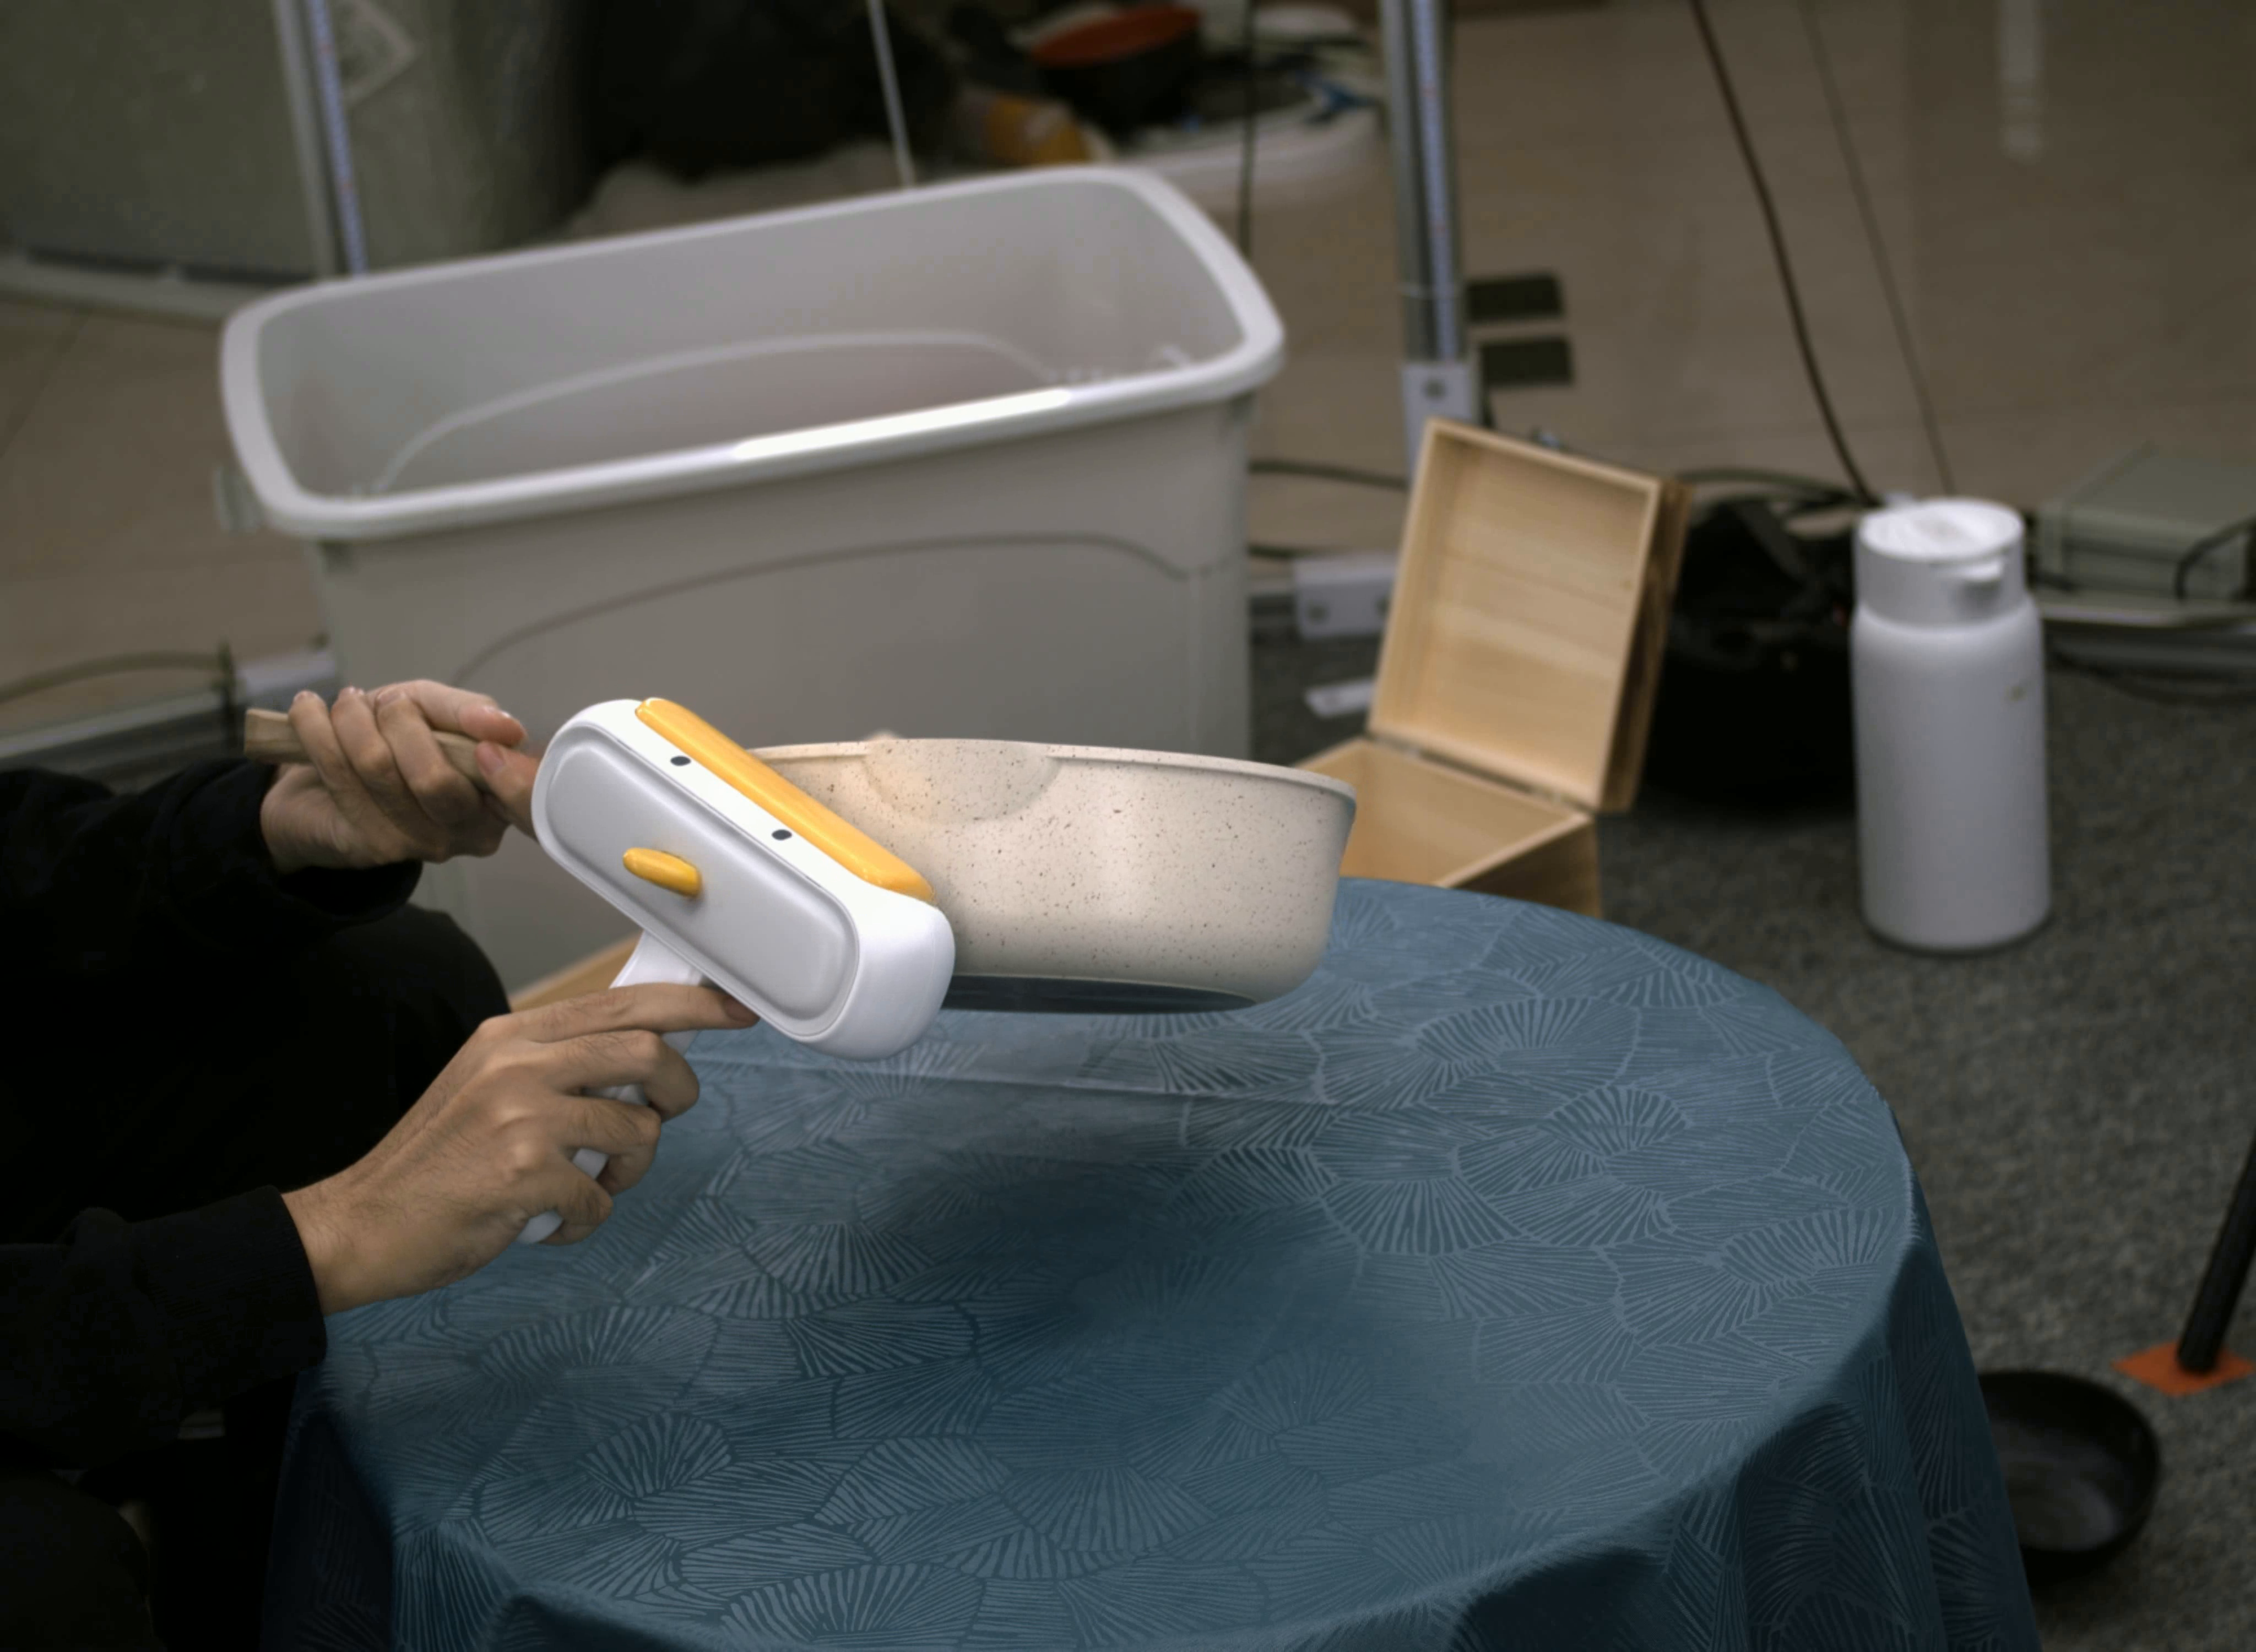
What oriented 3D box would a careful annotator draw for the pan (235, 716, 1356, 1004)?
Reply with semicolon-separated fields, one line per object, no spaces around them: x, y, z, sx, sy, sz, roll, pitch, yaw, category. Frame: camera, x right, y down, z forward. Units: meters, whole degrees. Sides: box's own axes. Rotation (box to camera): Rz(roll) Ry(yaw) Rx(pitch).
-0.131;0.013;2.150;0.434;0.102;0.264;1;-3;10;pan

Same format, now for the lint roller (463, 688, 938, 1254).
-0.175;0.066;2.034;0.191;0.193;0.074;30;10;30;lint roller
